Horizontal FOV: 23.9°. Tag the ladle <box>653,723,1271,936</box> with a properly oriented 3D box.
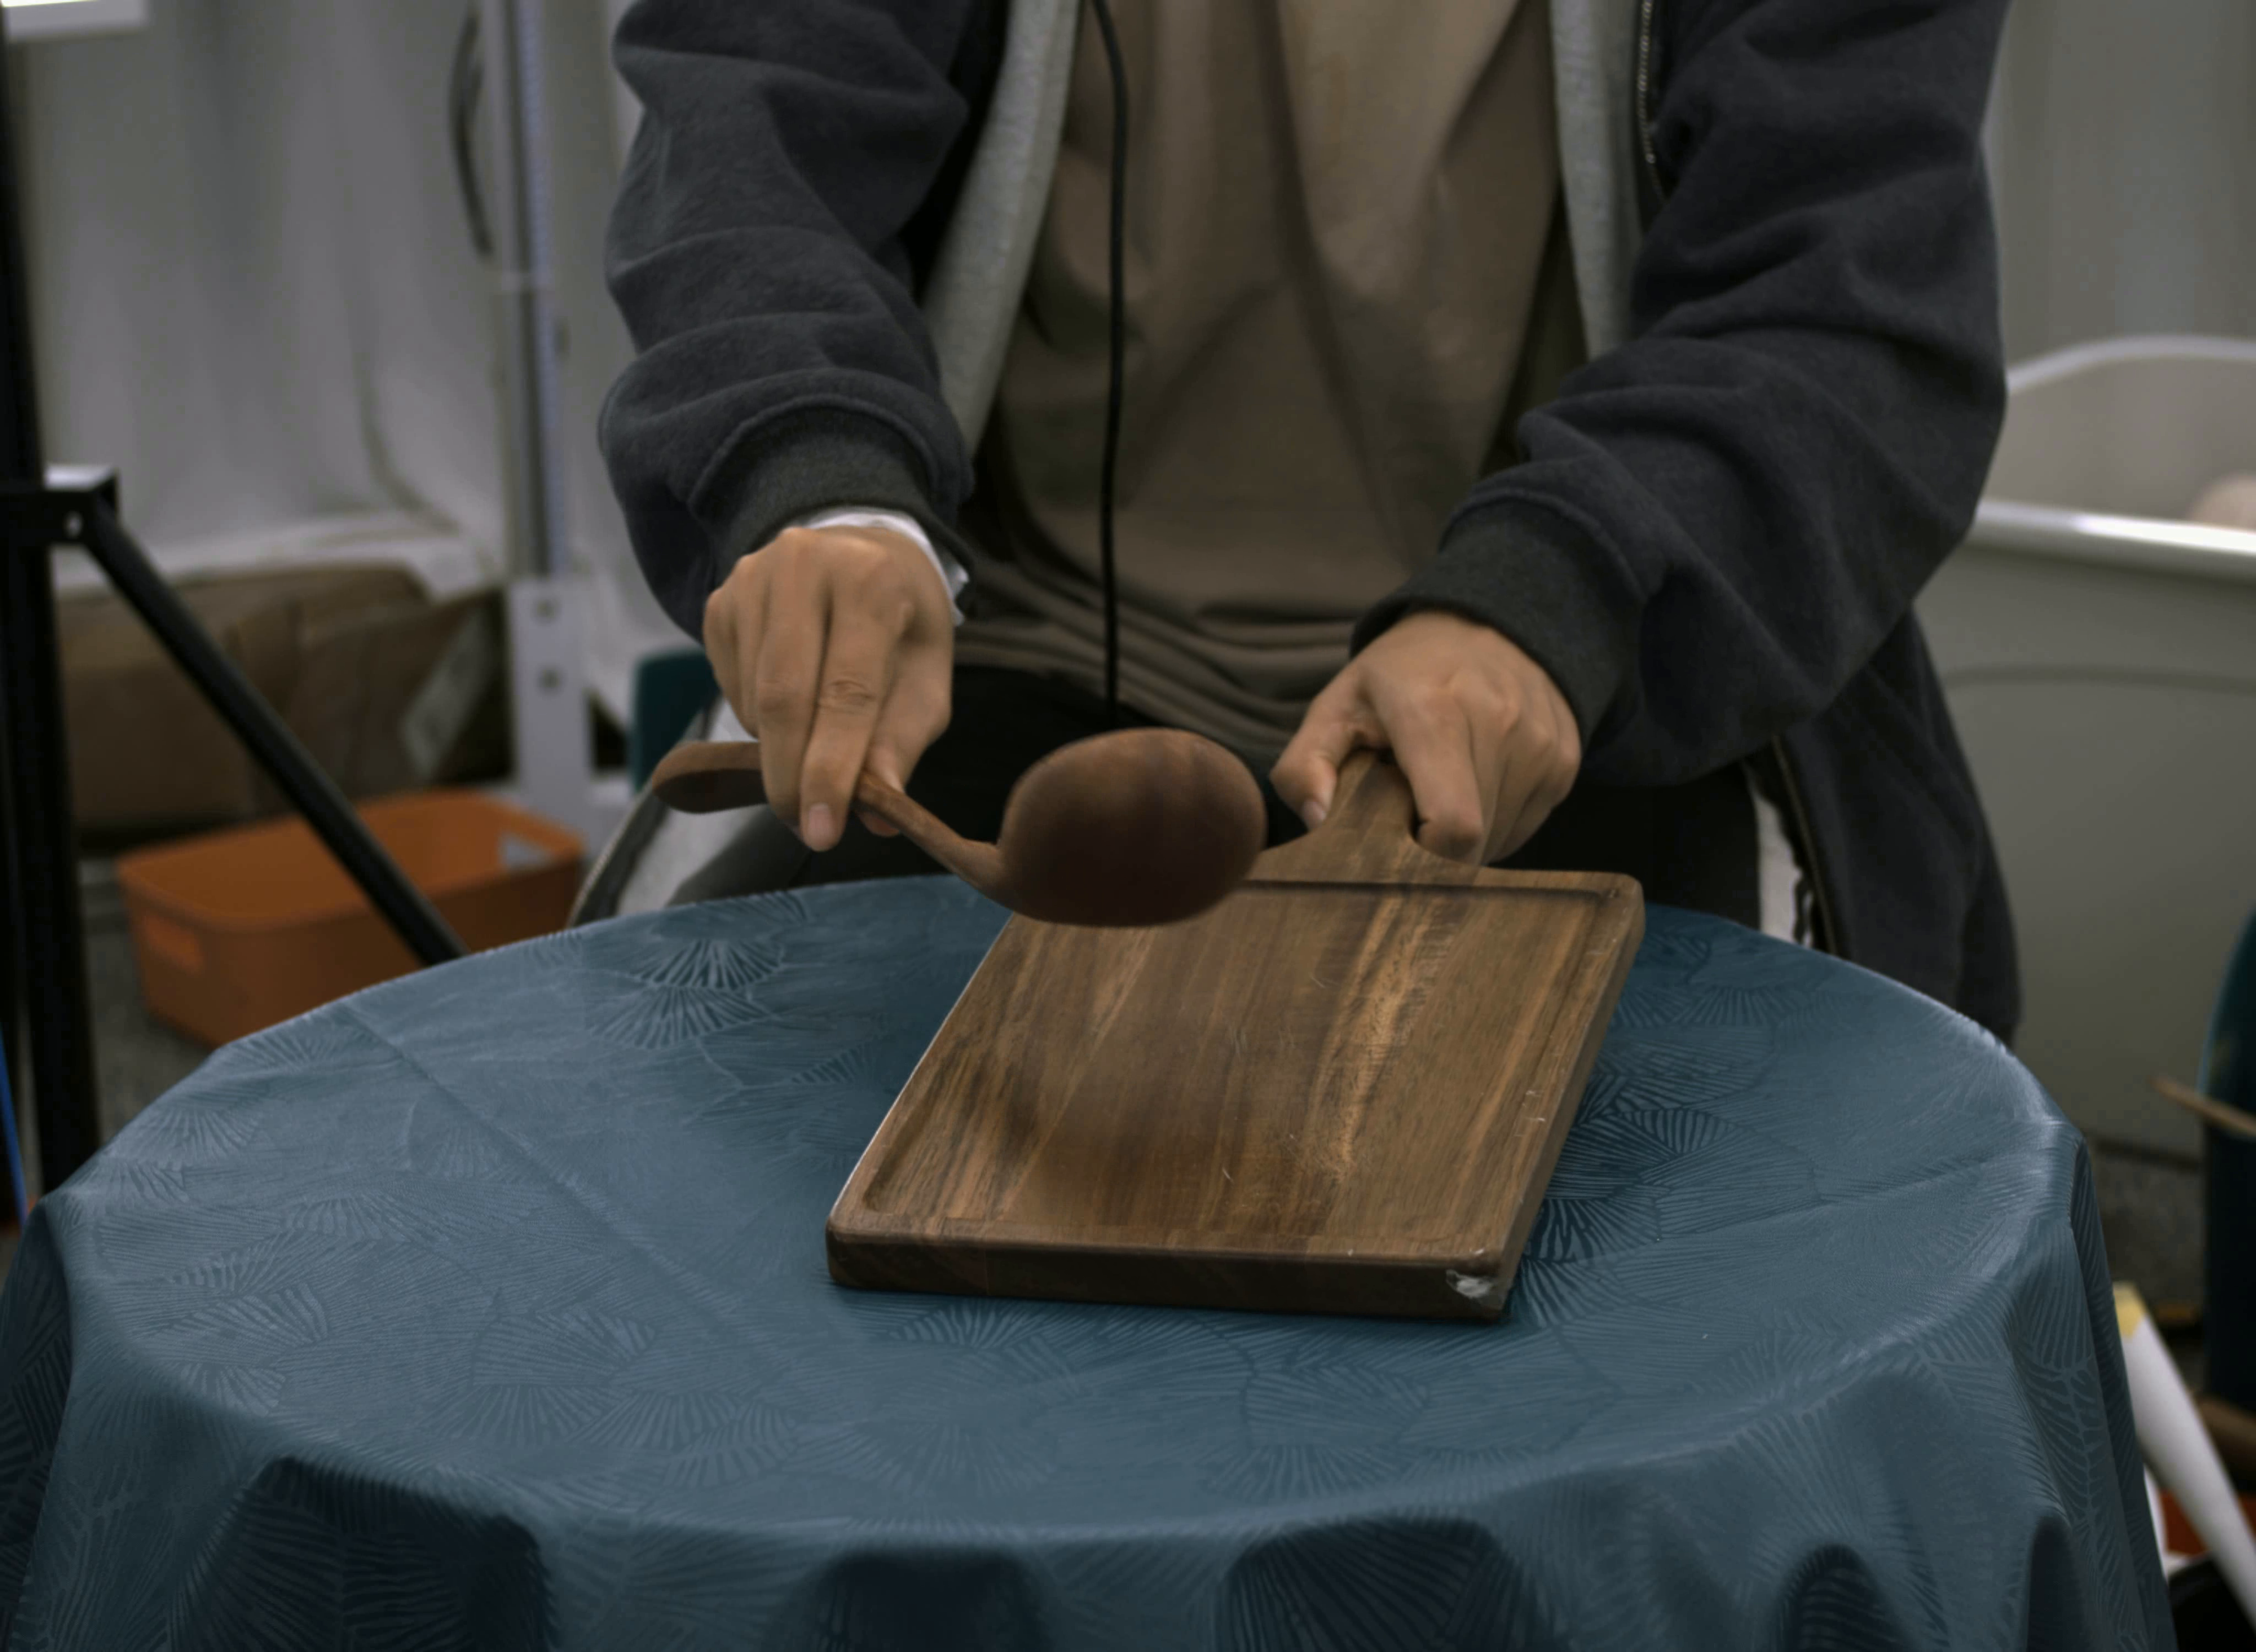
[{"bbox_3d":[-0.056,-0.013,1.619,0.266,0.075,0.065,16,66,52],"label":"ladle"}]

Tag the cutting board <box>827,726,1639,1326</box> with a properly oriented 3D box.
[{"bbox_3d":[0.049,0.051,1.613,0.203,0.023,0.350,1,26,15],"label":"cutting board"}]
